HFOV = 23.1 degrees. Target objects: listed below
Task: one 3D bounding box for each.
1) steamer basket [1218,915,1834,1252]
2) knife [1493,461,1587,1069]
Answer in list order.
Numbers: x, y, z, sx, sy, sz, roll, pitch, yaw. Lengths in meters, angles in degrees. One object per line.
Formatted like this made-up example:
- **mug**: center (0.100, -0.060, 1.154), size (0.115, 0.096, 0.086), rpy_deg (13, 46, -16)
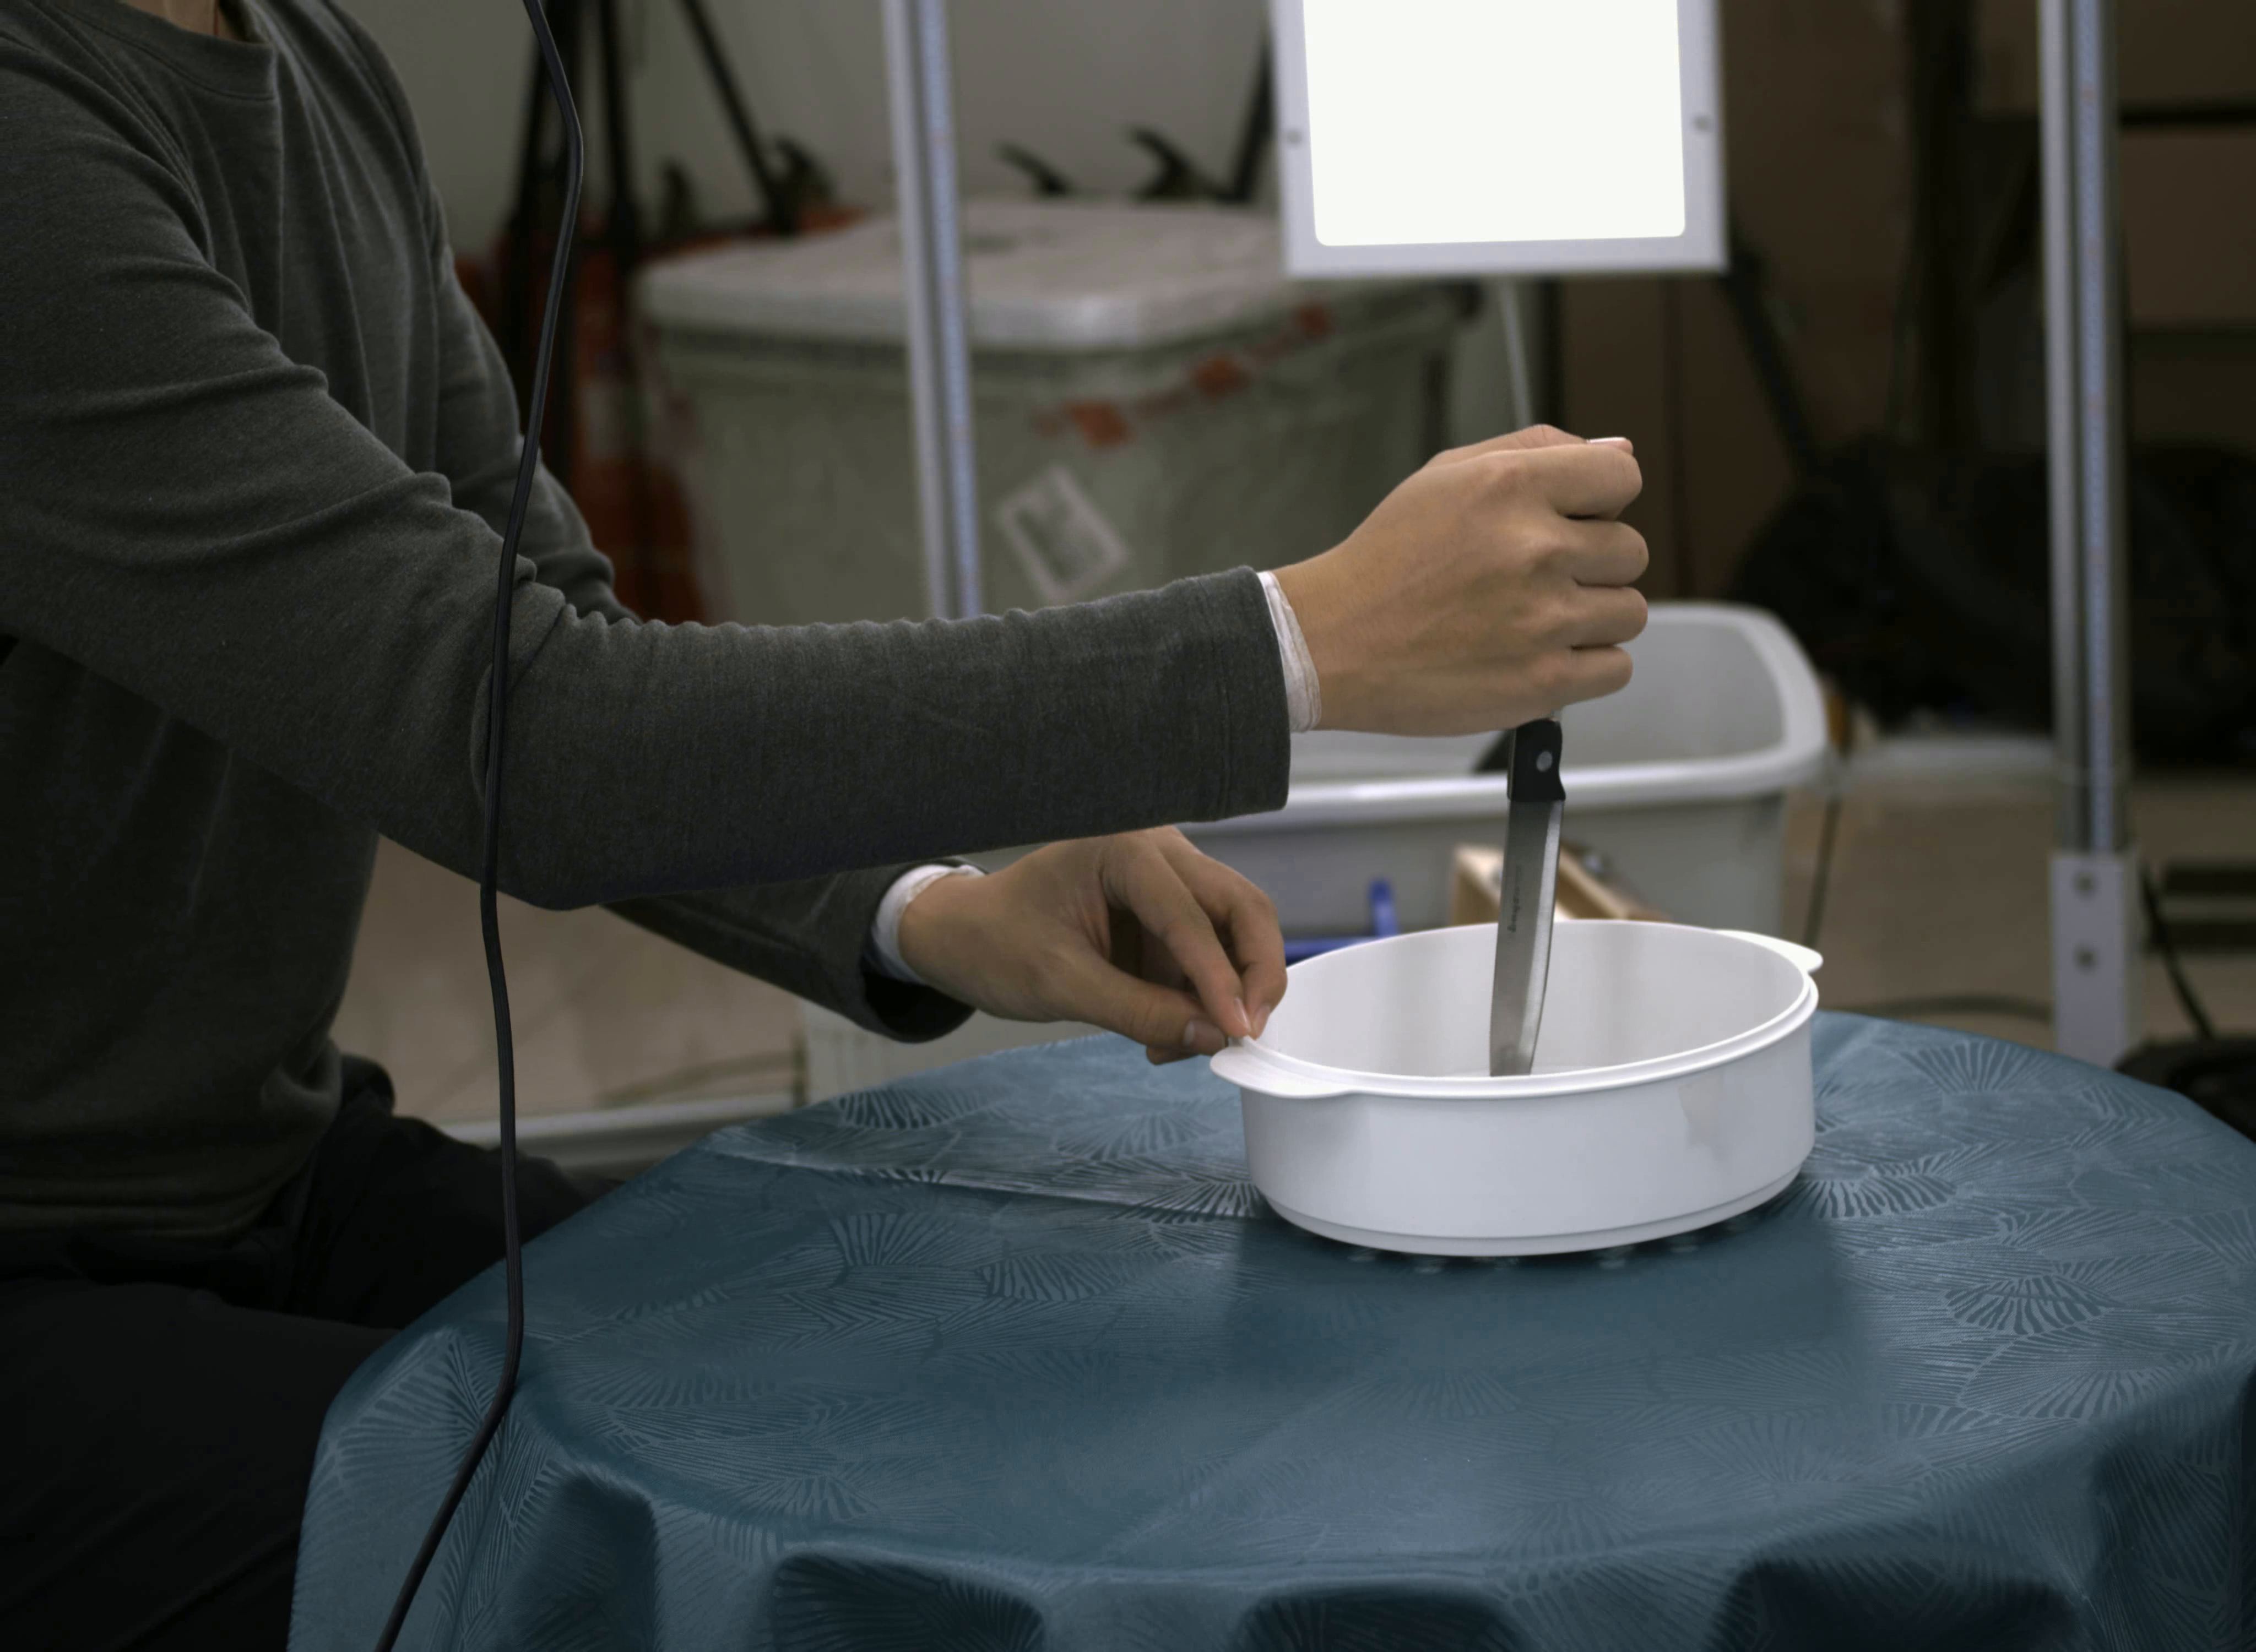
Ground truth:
- **steamer basket**: center (0.140, 0.087, 1.867), size (0.225, 0.069, 0.205), rpy_deg (-13, 15, -27)
- **knife**: center (0.136, -0.004, 1.842), size (0.024, 0.239, 0.016), rpy_deg (0, 12, -19)
